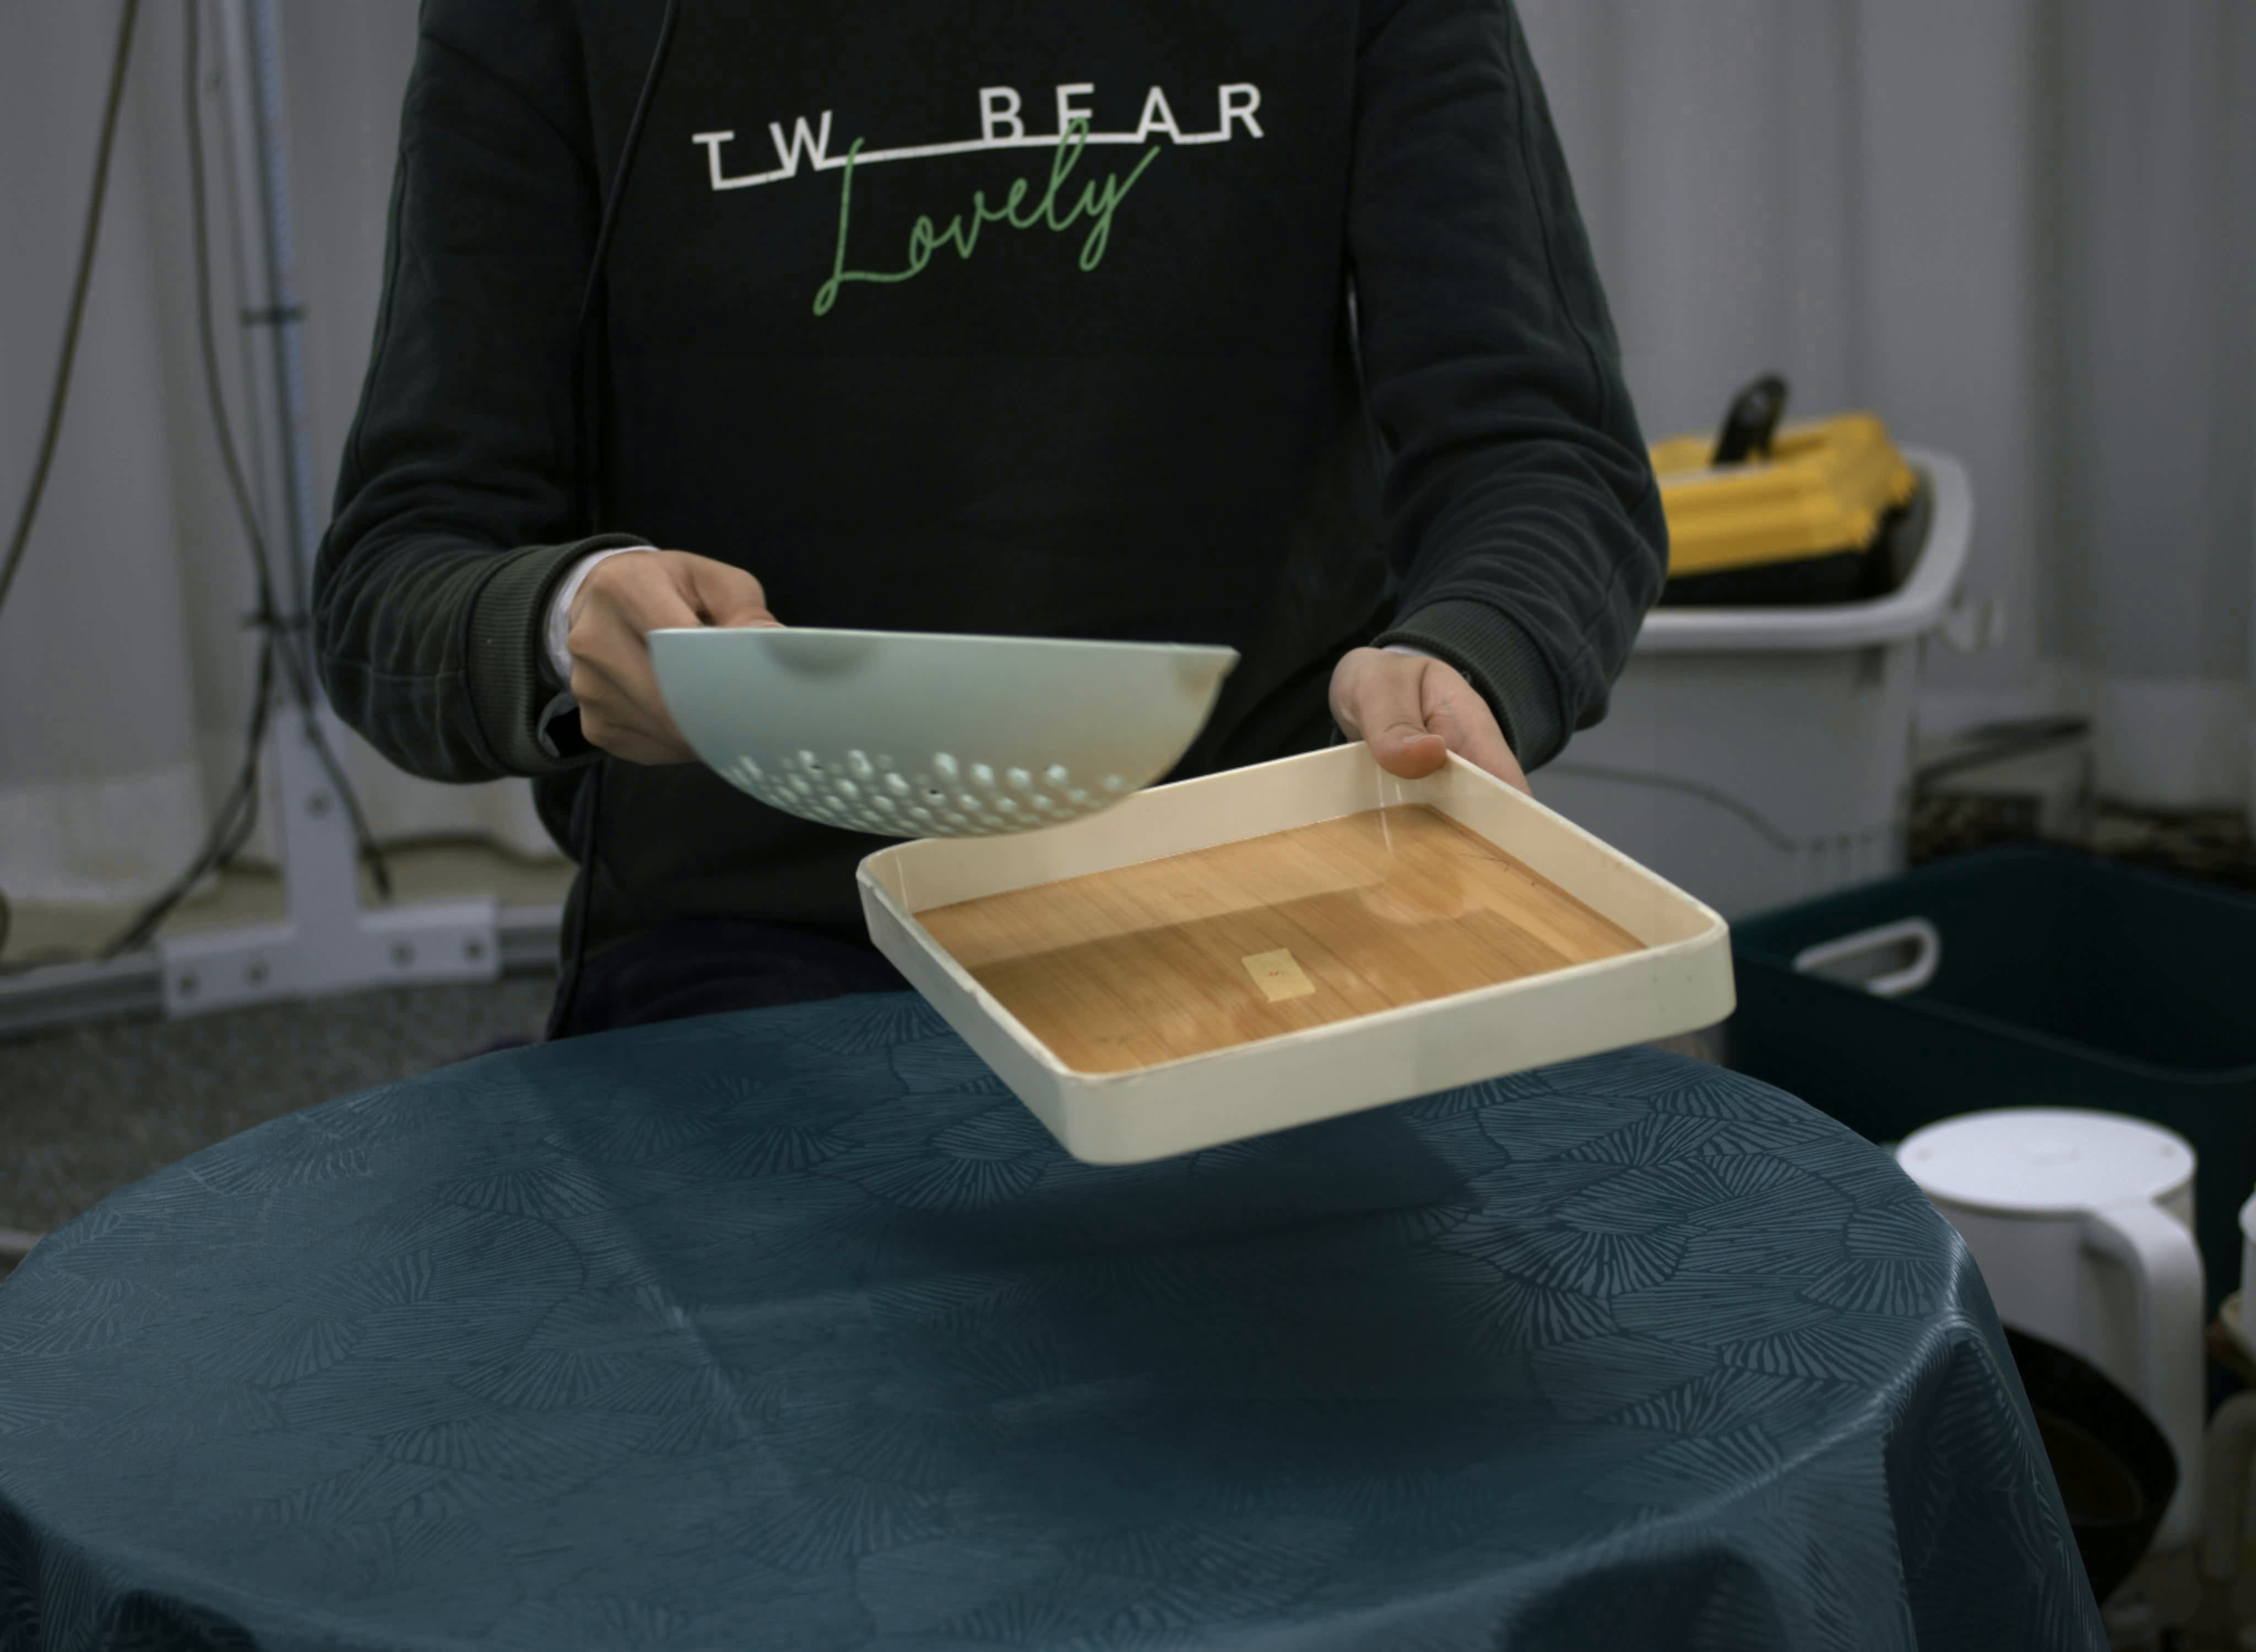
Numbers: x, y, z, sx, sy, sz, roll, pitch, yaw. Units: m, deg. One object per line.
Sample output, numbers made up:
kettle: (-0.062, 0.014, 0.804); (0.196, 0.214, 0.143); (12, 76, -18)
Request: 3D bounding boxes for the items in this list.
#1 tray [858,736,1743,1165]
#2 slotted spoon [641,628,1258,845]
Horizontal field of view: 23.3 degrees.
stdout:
tray: (0.042, 0.031, 1.585); (0.191, 0.027, 0.302); (-13, 14, -12)
slotted spoon: (-0.089, -0.042, 1.686); (0.168, 0.075, 0.361); (4, 8, -23)
